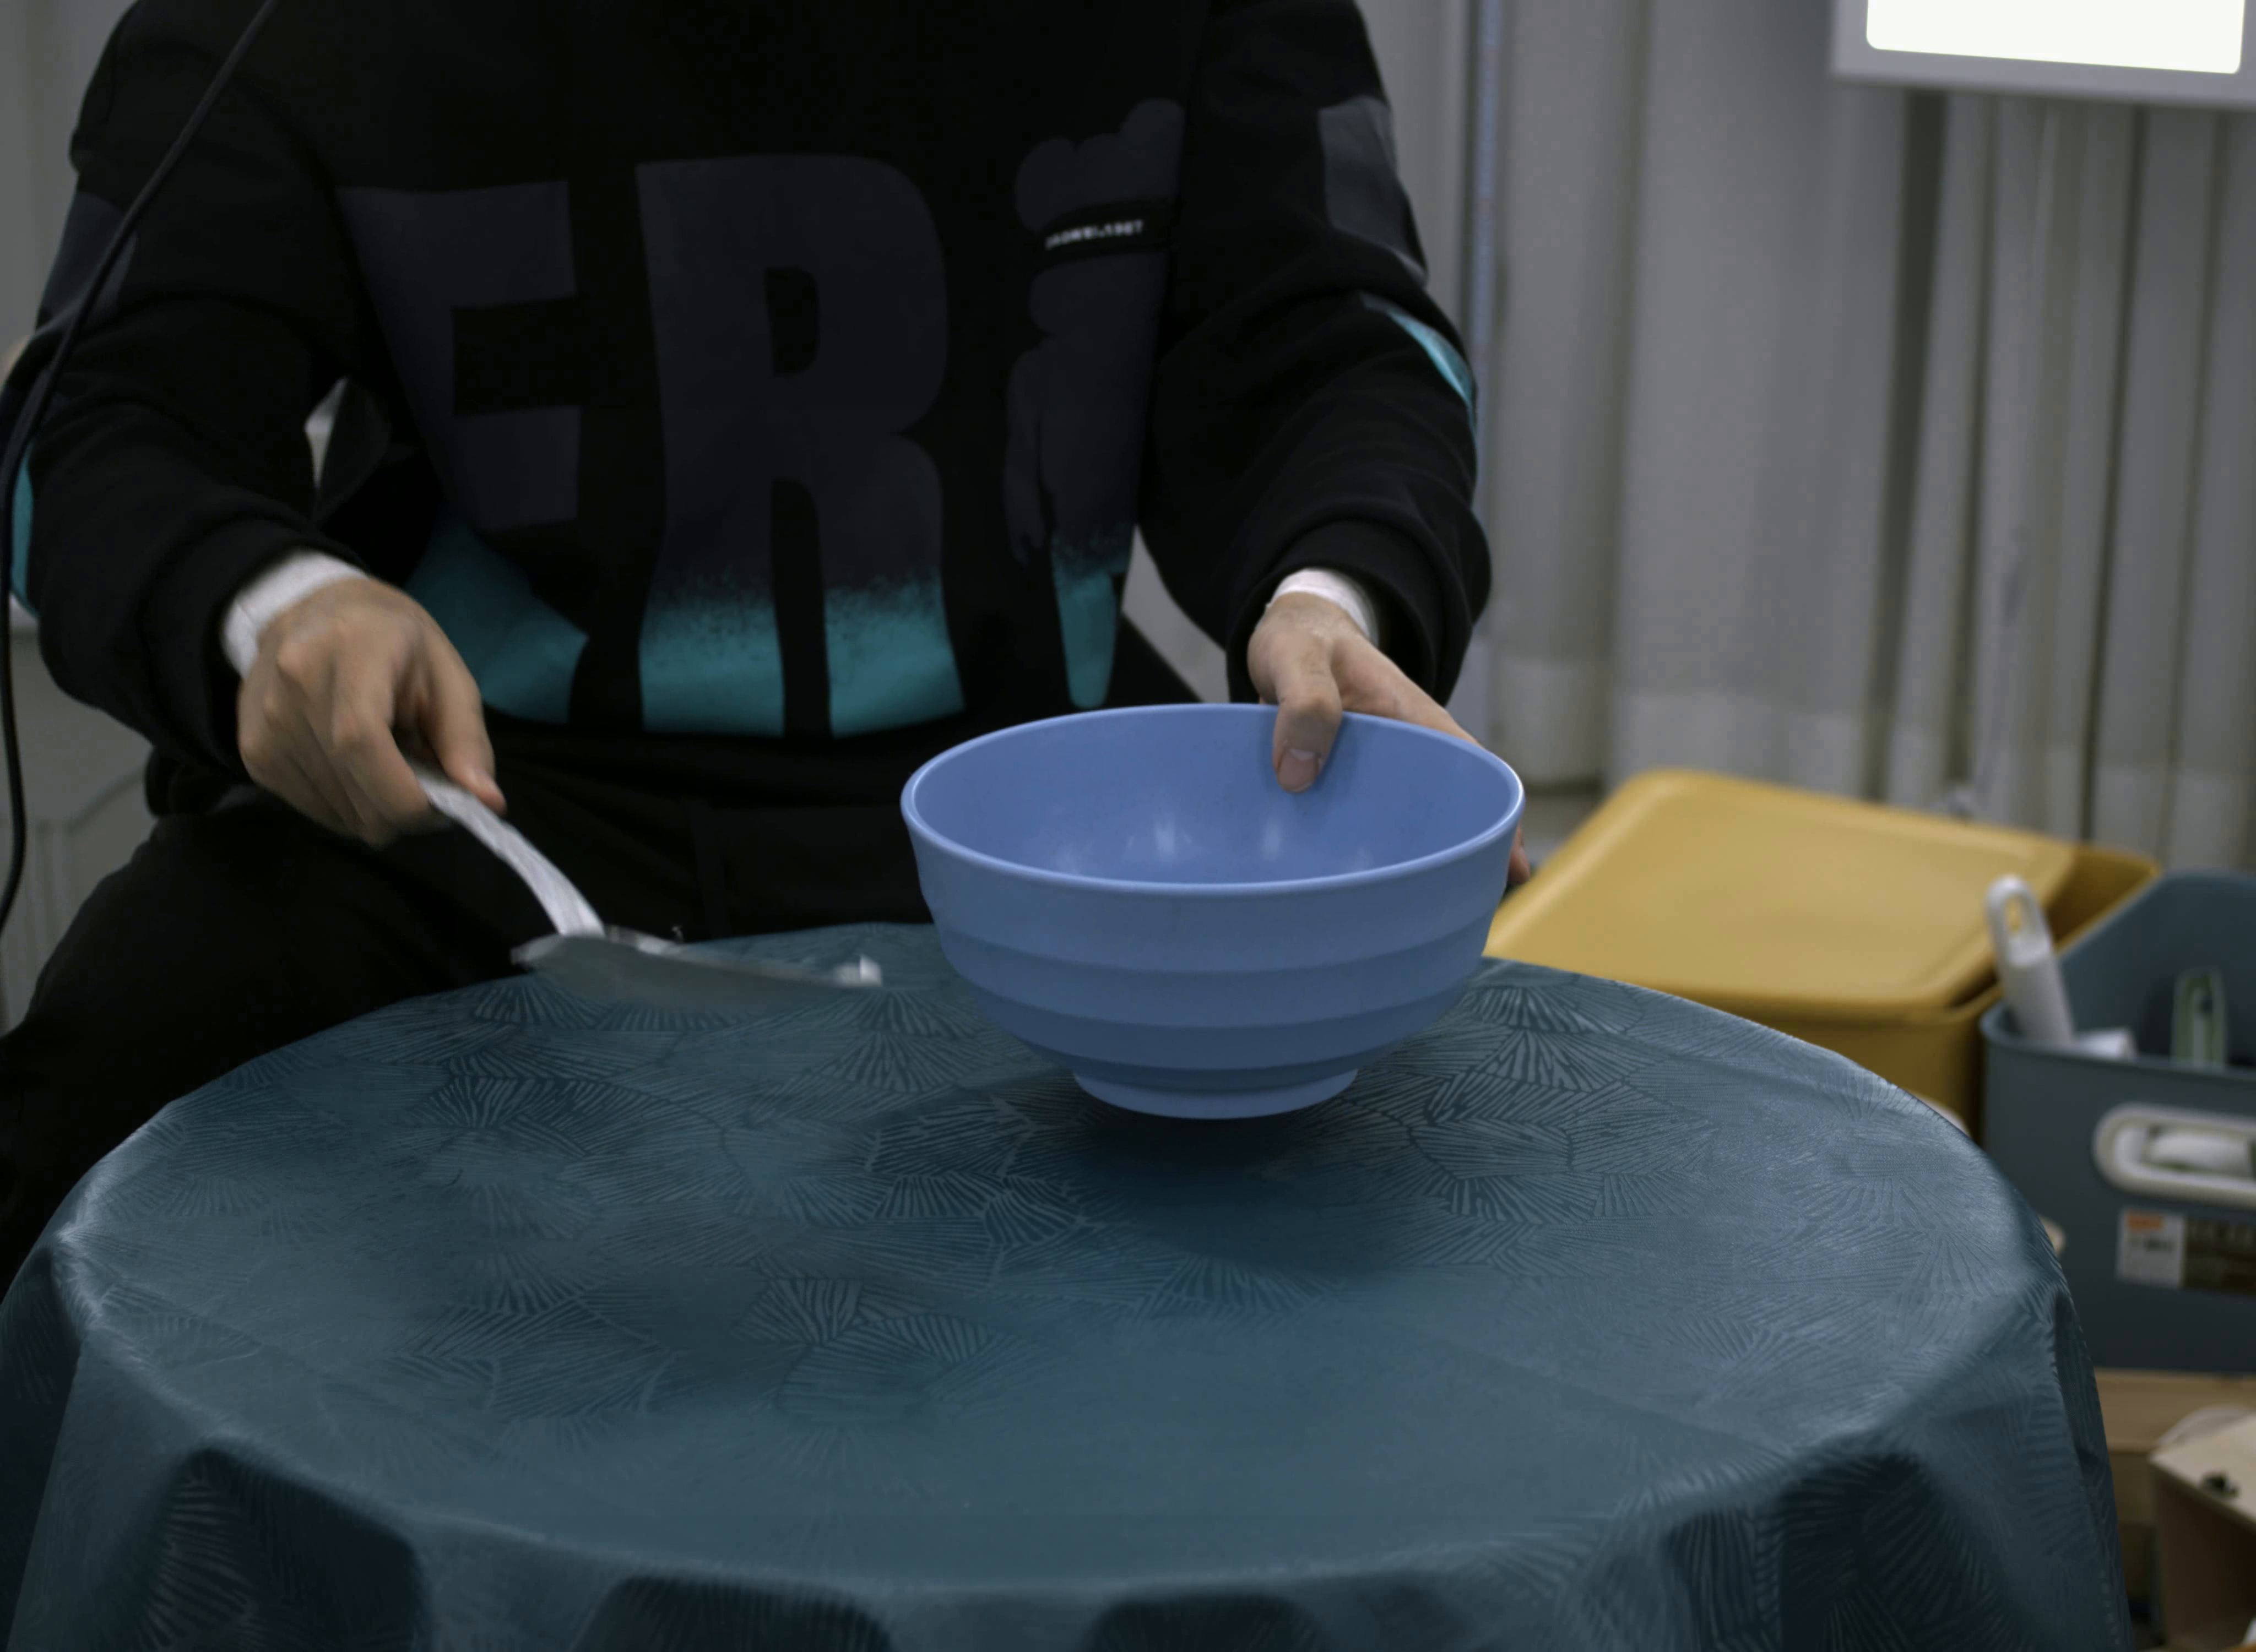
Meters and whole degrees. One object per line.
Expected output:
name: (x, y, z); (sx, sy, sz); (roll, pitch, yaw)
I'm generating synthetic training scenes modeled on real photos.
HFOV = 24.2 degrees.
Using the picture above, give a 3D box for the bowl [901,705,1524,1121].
bowl: (0.028, 0.033, 1.668); (0.196, 0.096, 0.195); (-1, 18, 1)

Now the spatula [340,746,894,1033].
spatula: (-0.183, 0.009, 1.631); (0.099, 0.045, 0.360); (10, 13, -29)
